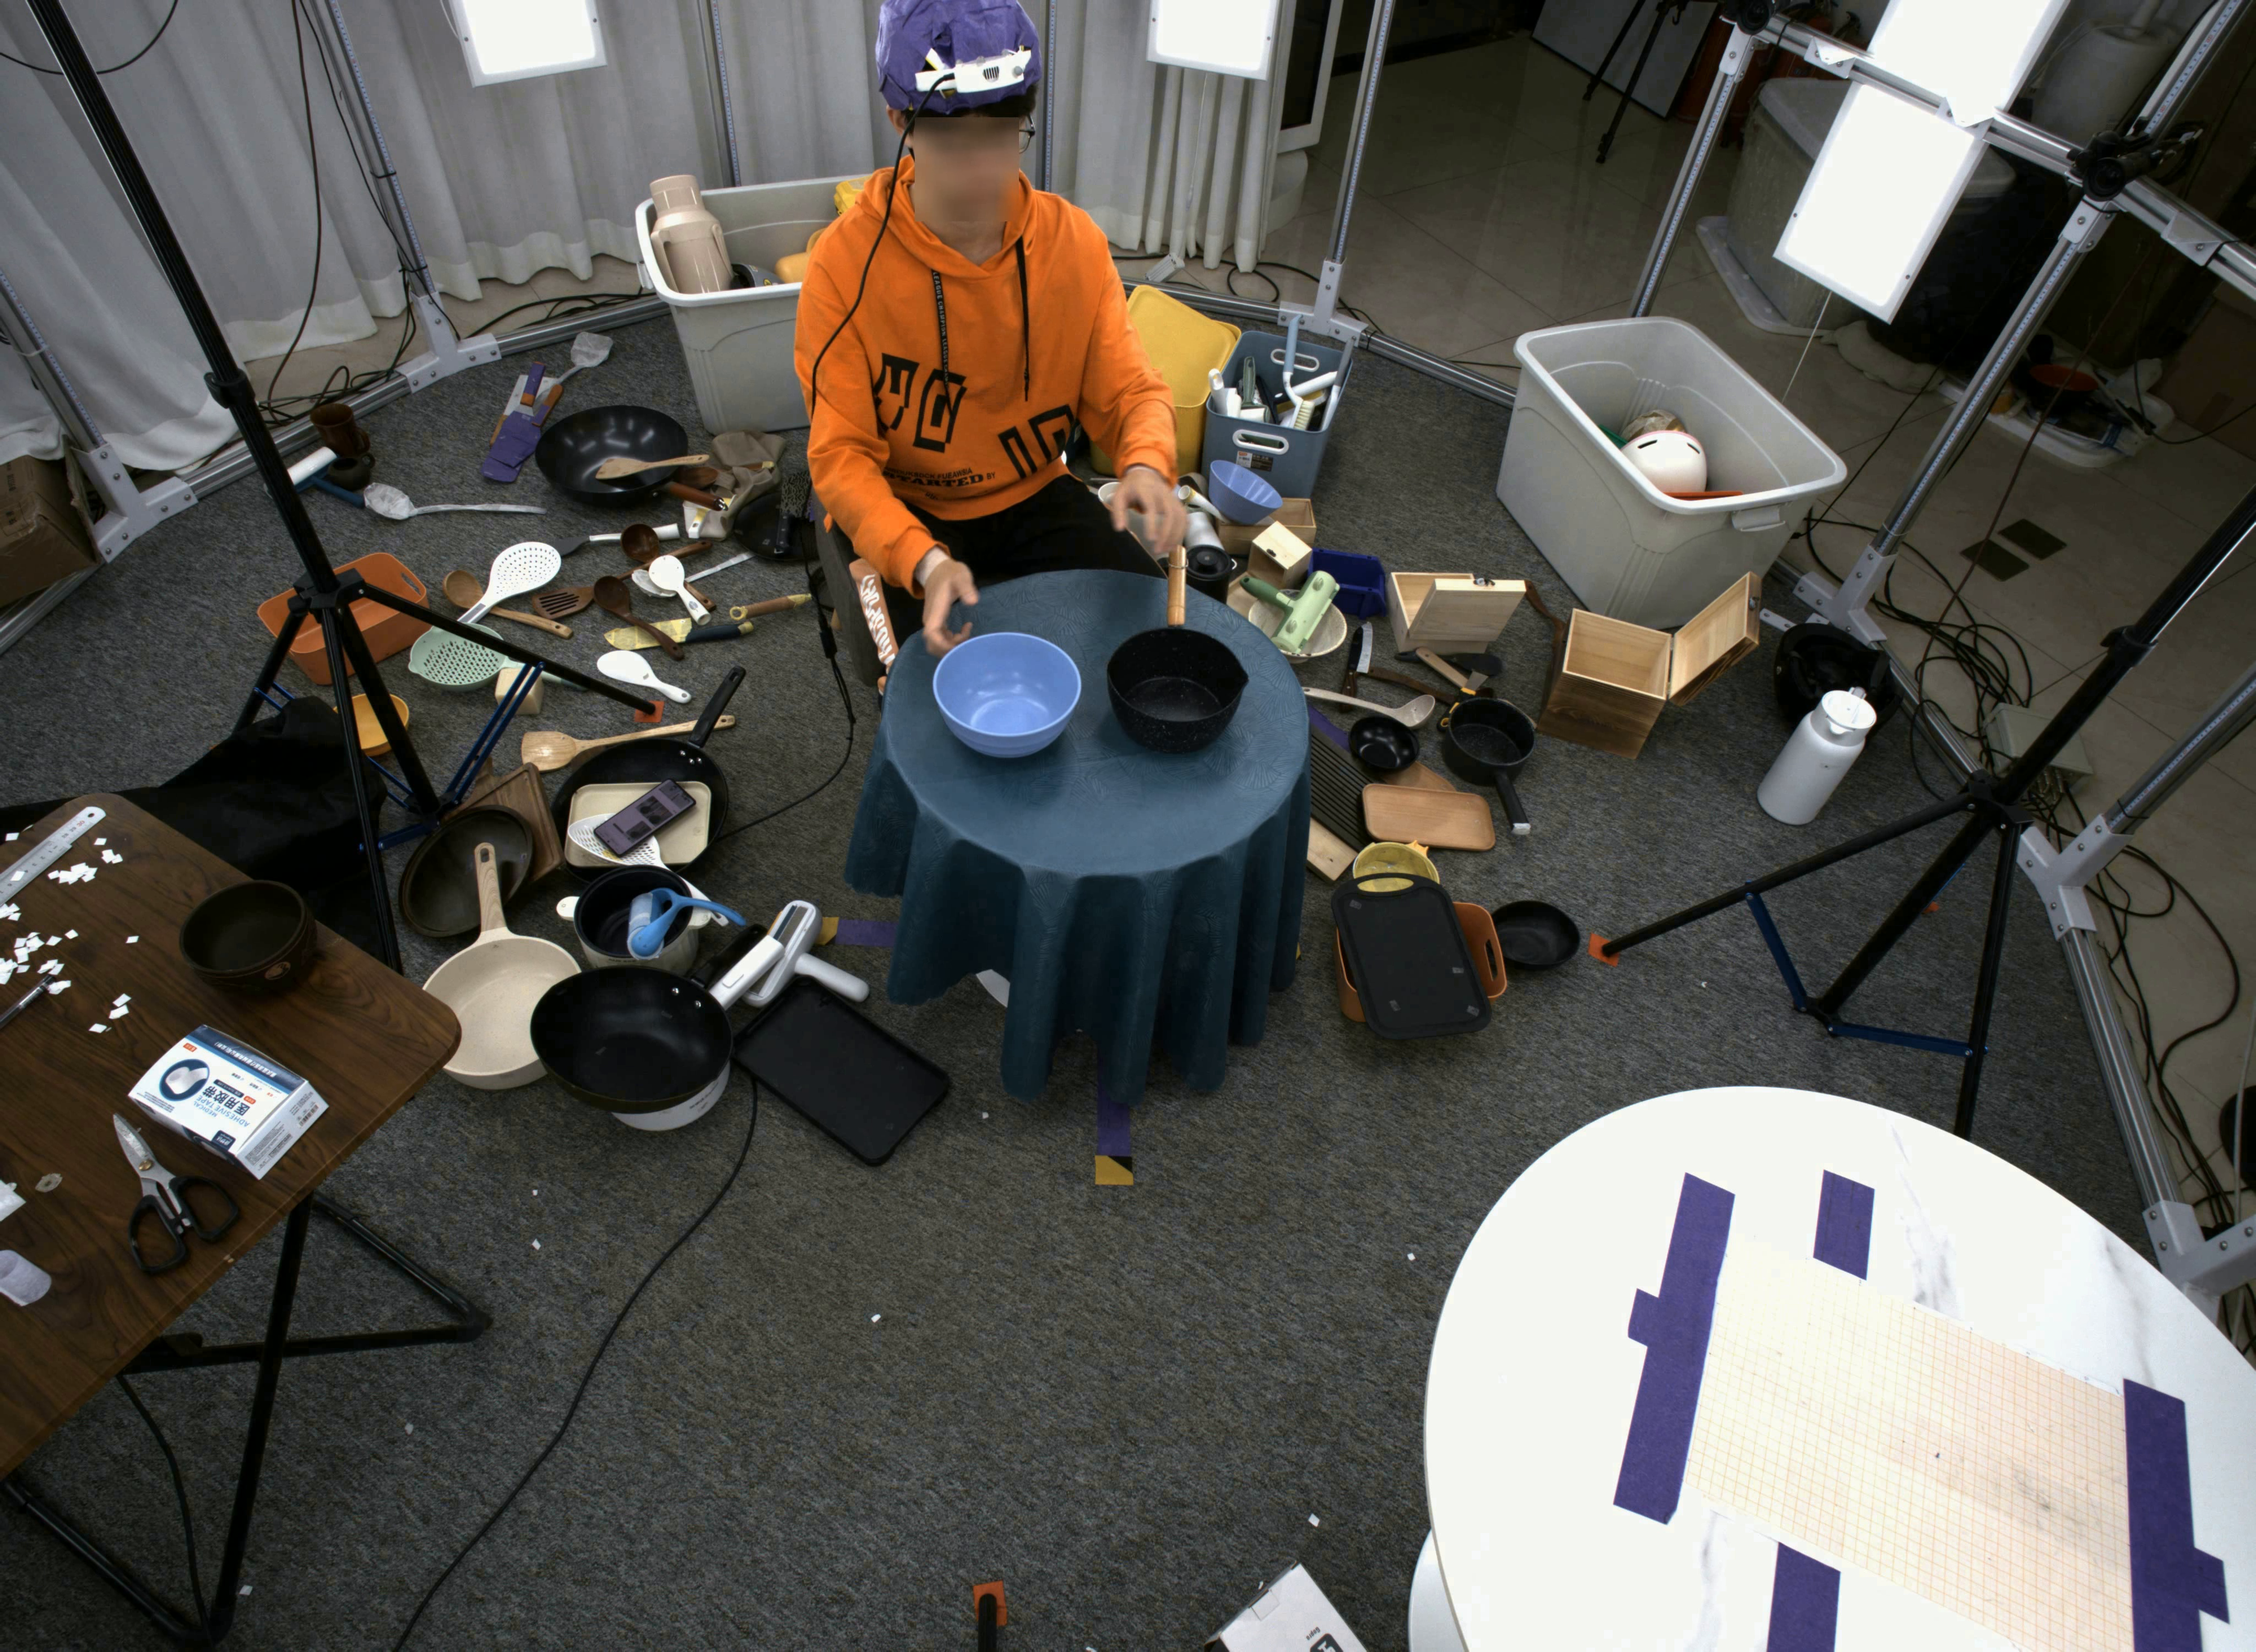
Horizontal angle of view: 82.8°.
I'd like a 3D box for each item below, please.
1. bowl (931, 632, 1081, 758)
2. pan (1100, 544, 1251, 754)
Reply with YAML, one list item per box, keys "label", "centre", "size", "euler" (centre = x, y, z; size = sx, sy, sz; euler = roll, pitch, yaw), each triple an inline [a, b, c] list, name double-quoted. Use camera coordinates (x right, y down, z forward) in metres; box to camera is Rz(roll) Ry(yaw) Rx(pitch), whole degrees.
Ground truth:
- label: "bowl"
  centre: [-0.163, -0.162, 1.737]
  size: [0.196, 0.093, 0.201]
  euler: [1, 50, -2]
- label: "pan"
  centre: [0.065, -0.252, 1.822]
  size: [0.207, 0.105, 0.351]
  euler: [2, 50, -1]
